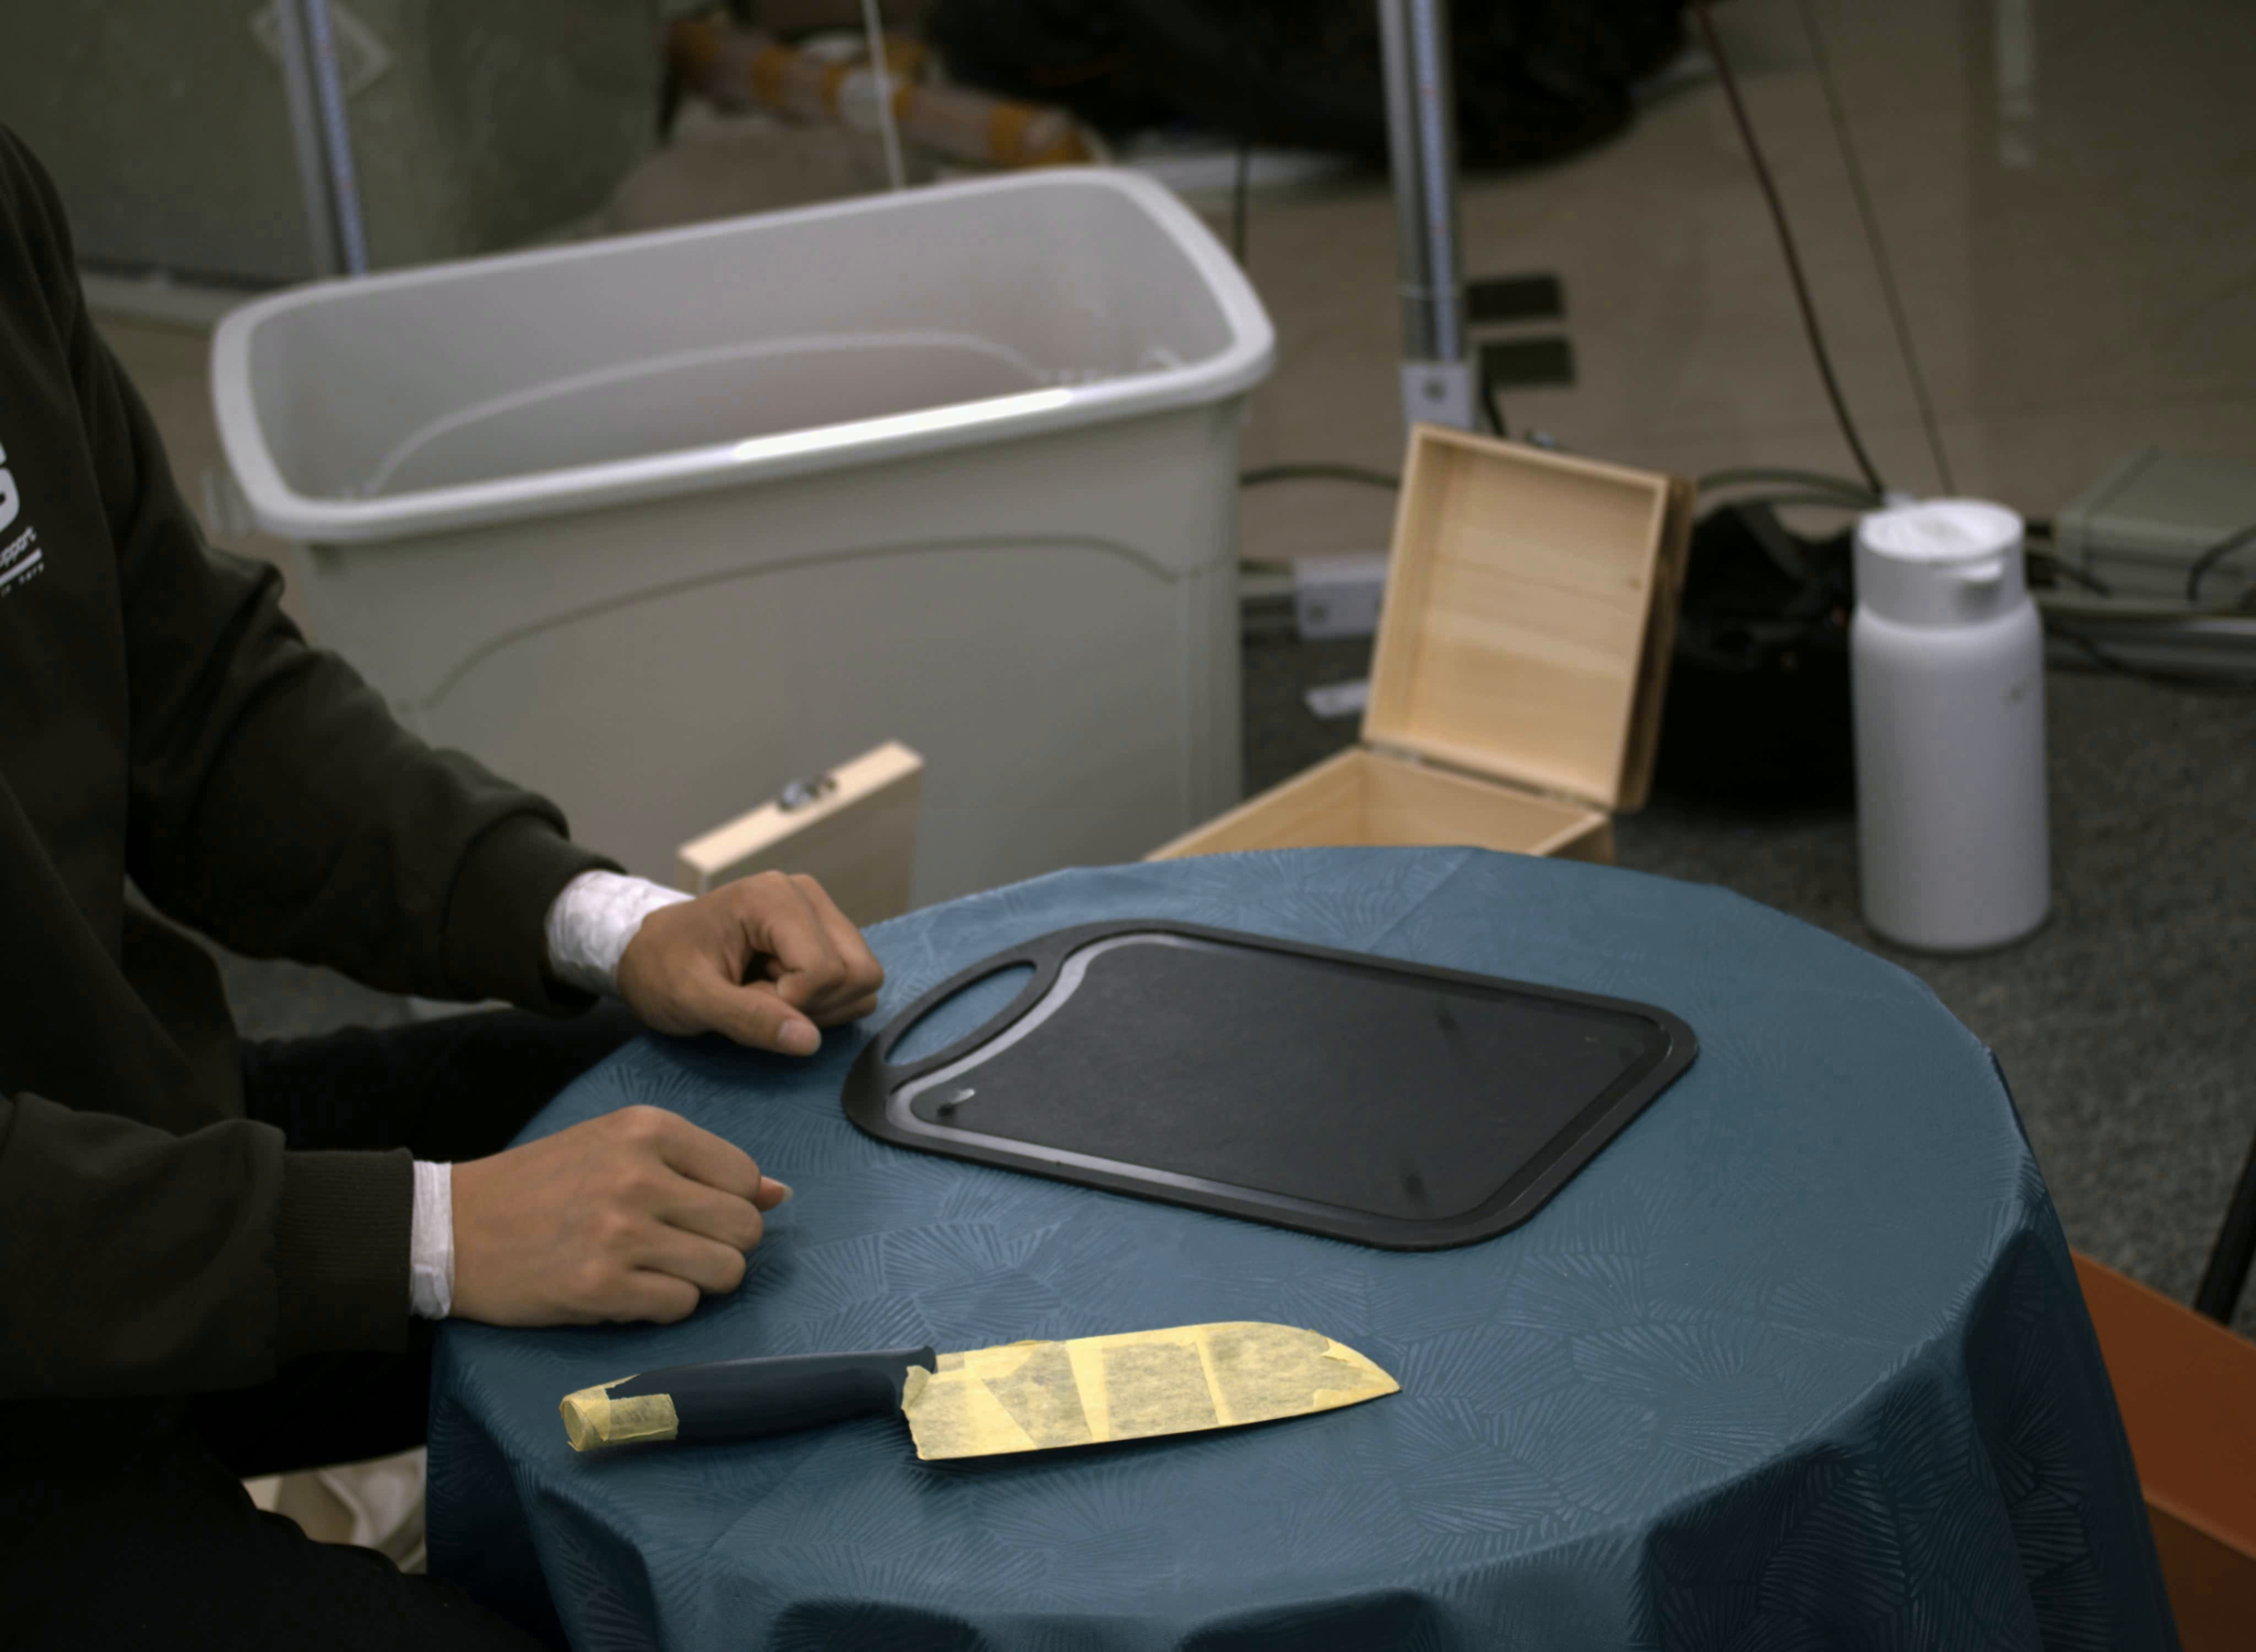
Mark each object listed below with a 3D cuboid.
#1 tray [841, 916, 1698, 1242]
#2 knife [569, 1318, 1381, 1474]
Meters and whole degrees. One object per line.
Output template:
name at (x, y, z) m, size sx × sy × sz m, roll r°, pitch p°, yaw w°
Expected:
tray at (0.047, 0.094, 2.228) m, size 0.324 × 0.010 × 0.209 m, roll 10°, pitch 29°, yaw 32°
knife at (-0.053, 0.204, 2.006) m, size 0.289 × 0.027 × 0.080 m, roll -7°, pitch 22°, yaw -2°
